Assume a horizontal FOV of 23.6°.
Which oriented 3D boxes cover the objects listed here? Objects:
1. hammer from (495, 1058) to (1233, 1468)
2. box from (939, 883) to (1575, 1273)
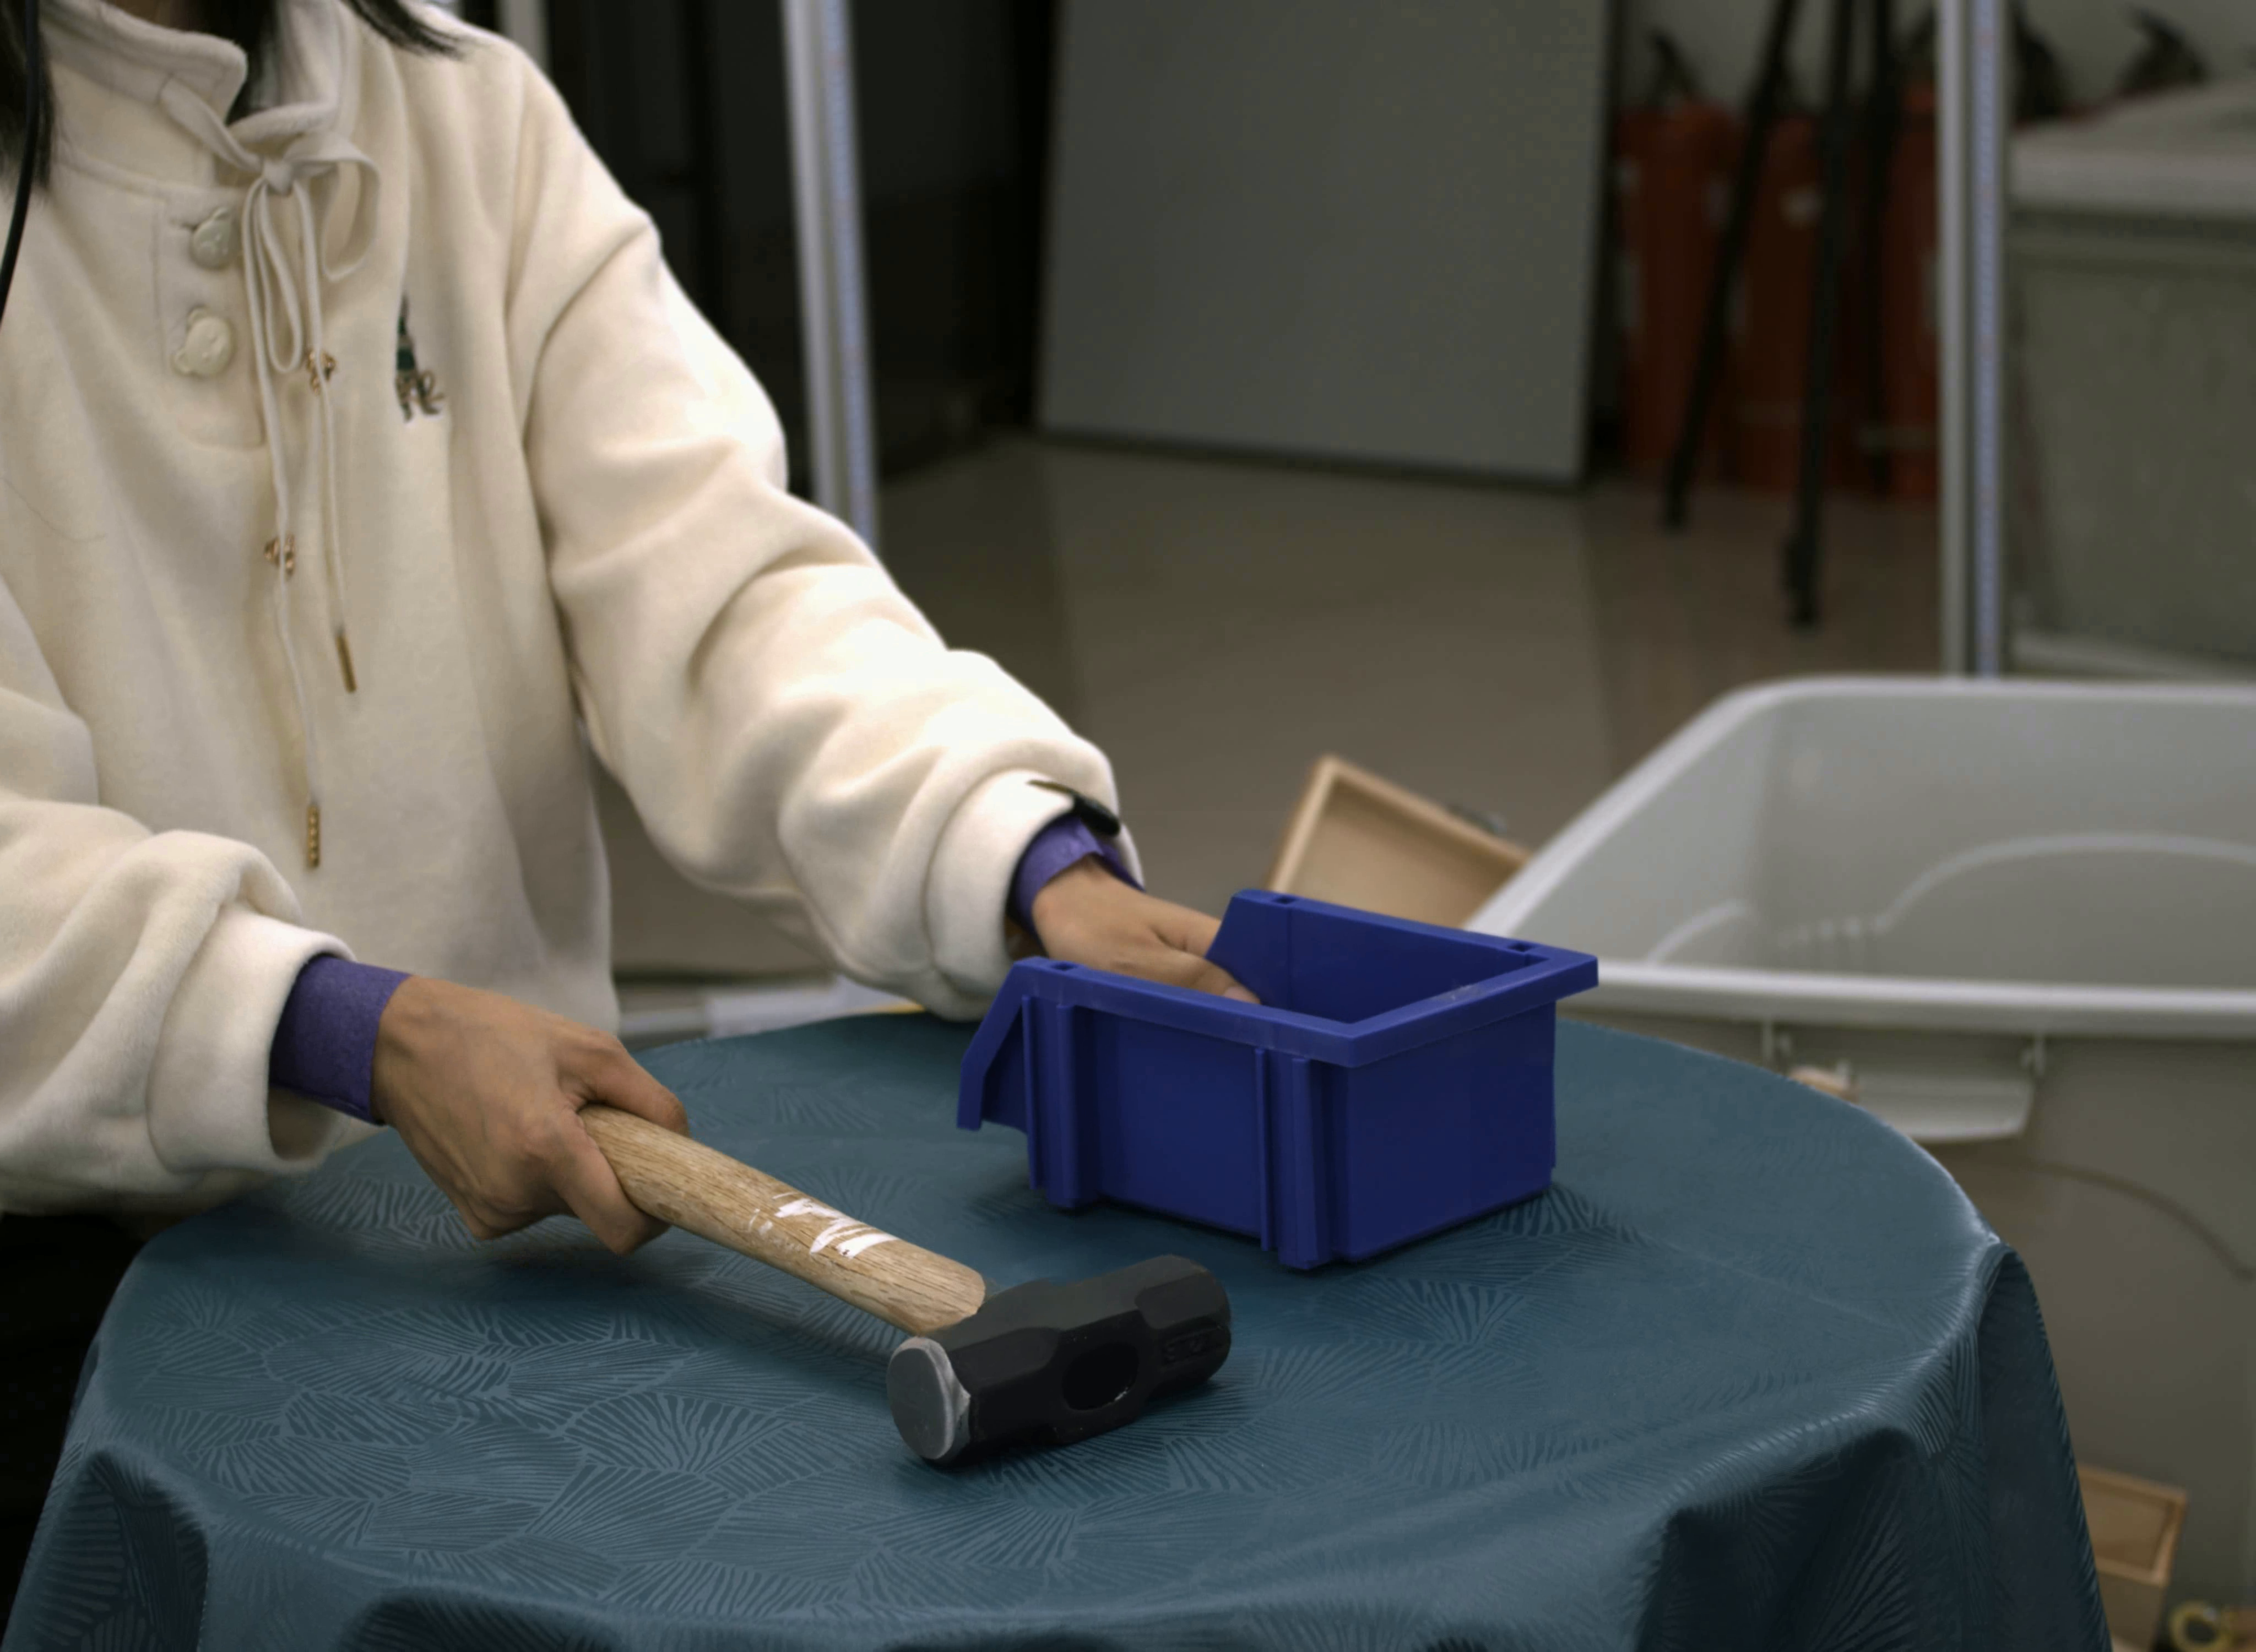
[{"bbox_3d":[-0.102,0.124,1.659,0.105,0.039,0.308,-13,21,-36],"label":"hammer"},{"bbox_3d":[0.039,0.079,1.755,0.122,0.083,0.181,-15,20,-42],"label":"box"}]
